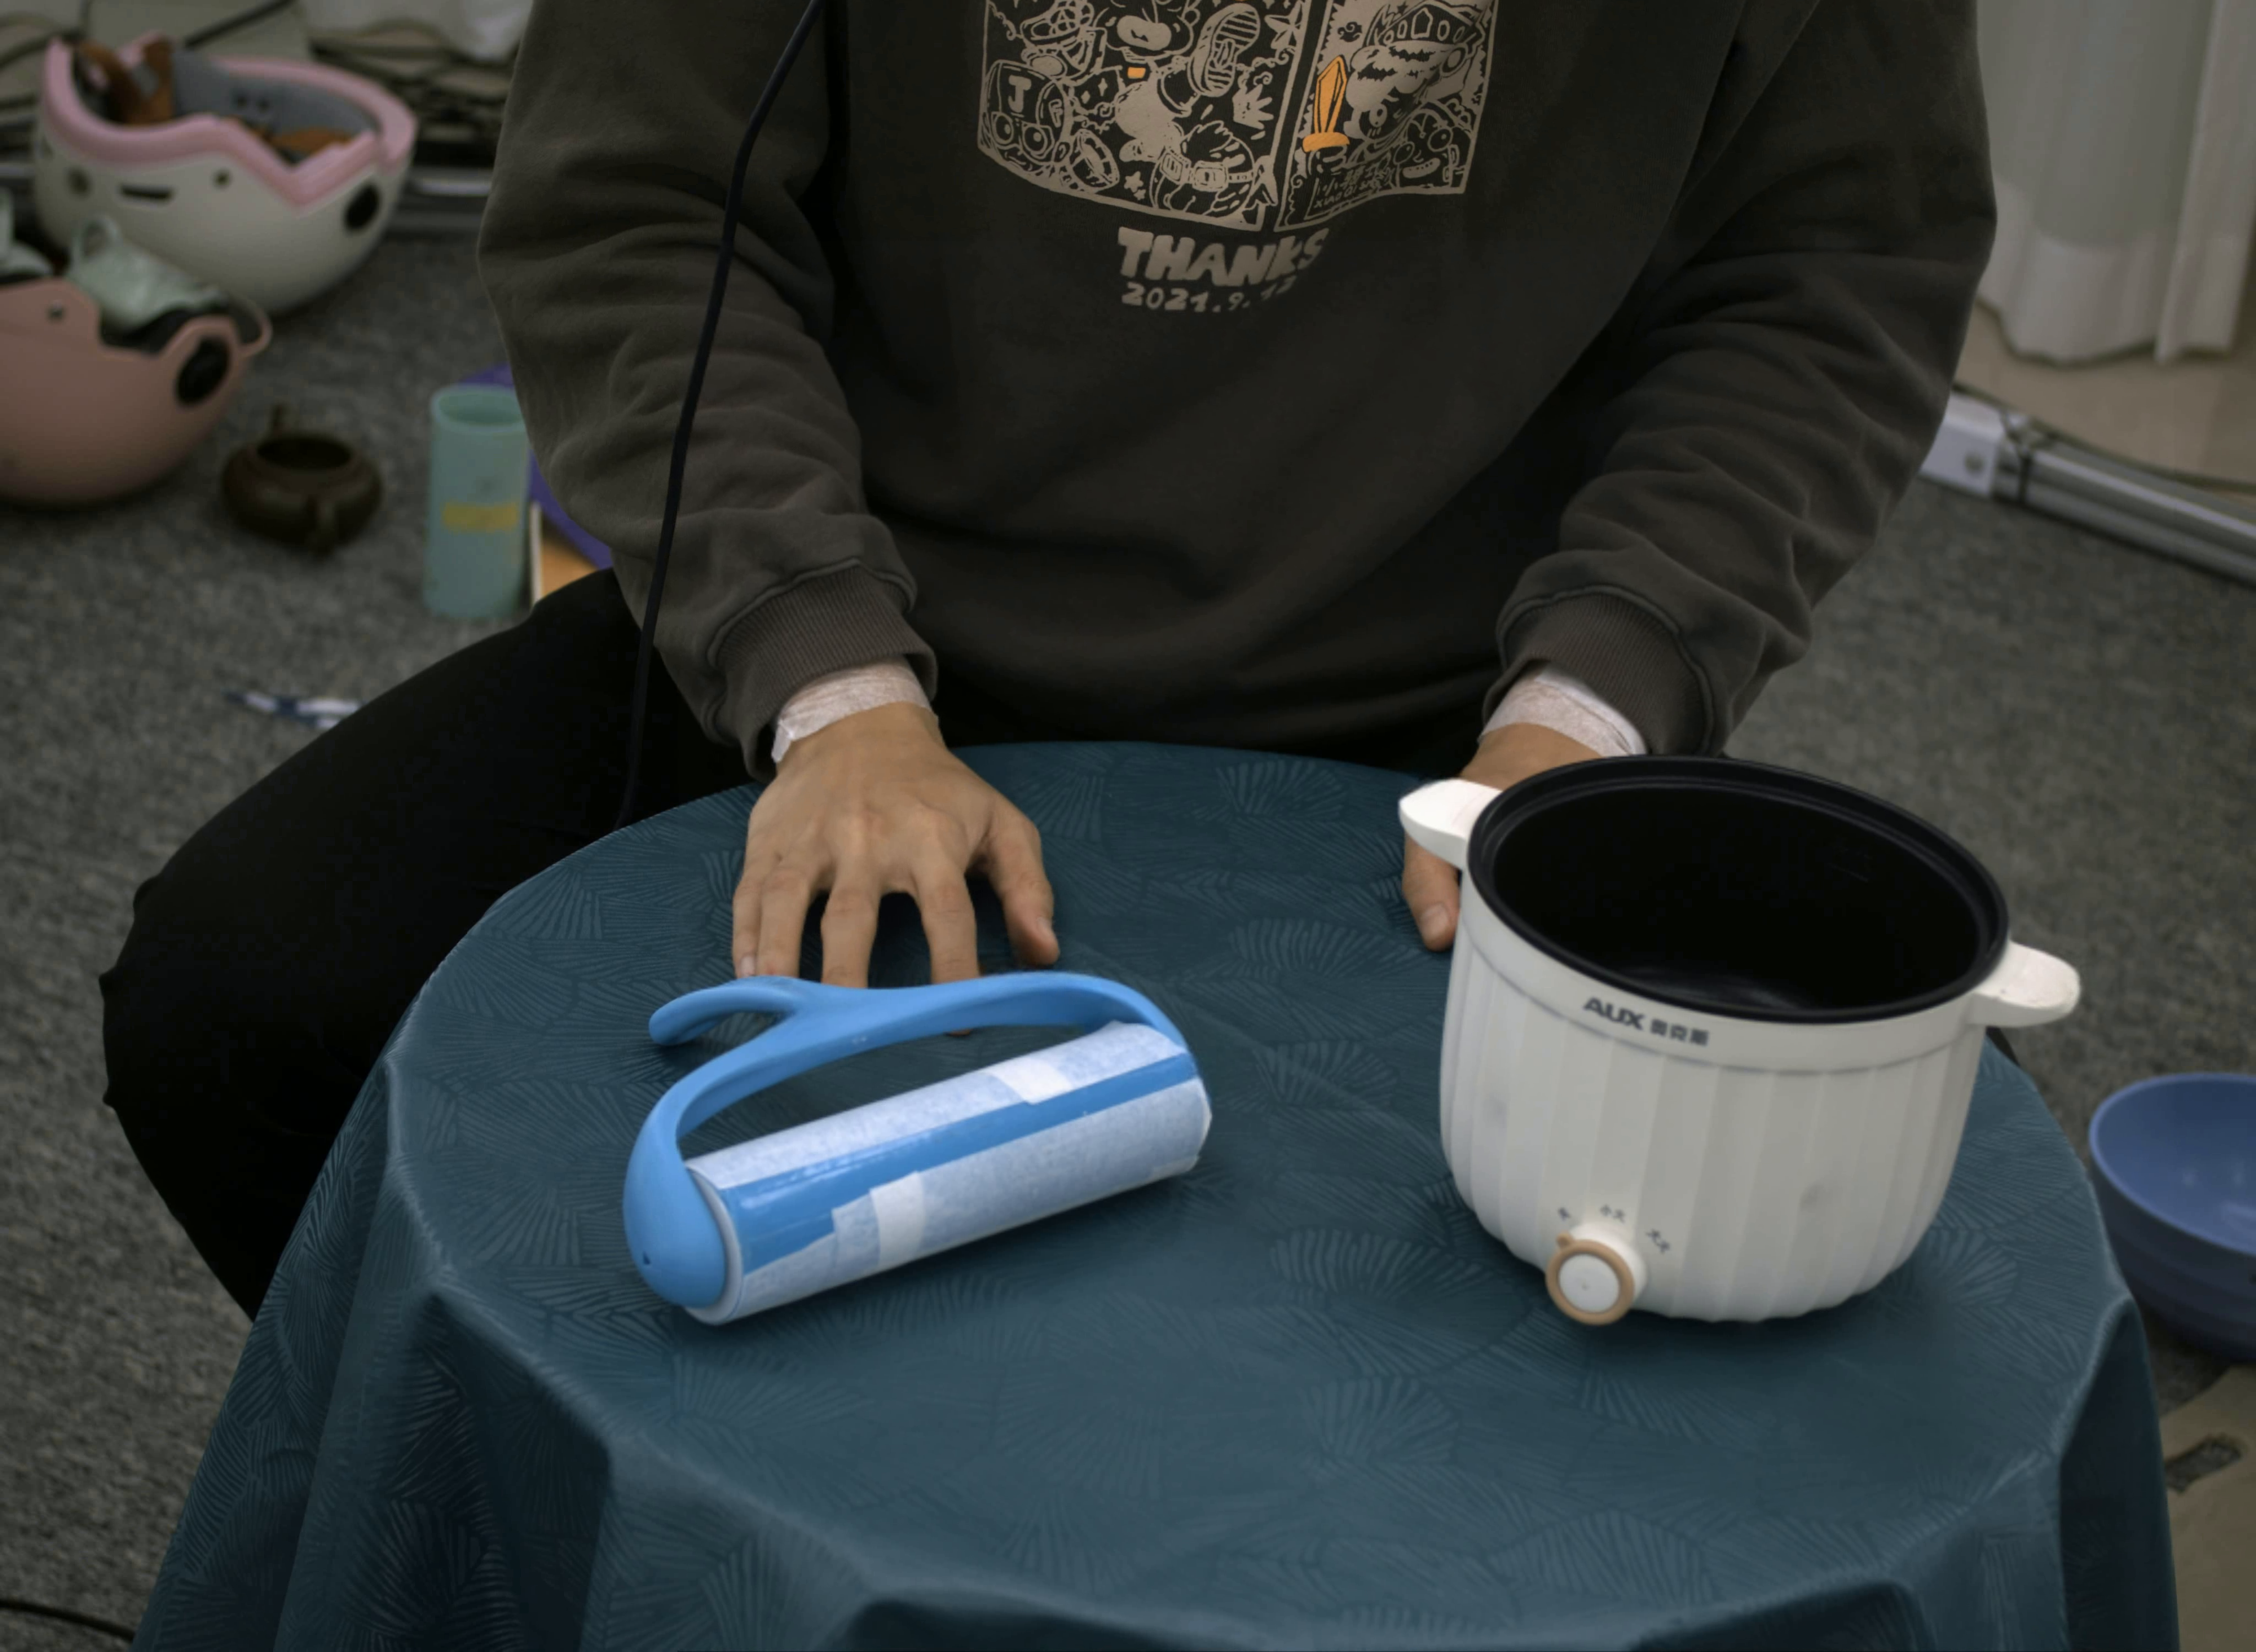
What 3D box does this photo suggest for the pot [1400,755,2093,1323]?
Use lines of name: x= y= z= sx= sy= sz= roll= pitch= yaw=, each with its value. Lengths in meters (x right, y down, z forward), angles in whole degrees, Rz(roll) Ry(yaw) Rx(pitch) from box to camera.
pot: x=0.195 y=0.078 z=1.784 sx=0.241 sy=0.142 sz=0.190 roll=15 pitch=24 yaw=20

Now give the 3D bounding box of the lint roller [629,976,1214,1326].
lint roller: x=-0.102 y=0.087 z=1.789 sx=0.228 sy=0.067 sz=0.182 roll=-18 pitch=37 yaw=-38
